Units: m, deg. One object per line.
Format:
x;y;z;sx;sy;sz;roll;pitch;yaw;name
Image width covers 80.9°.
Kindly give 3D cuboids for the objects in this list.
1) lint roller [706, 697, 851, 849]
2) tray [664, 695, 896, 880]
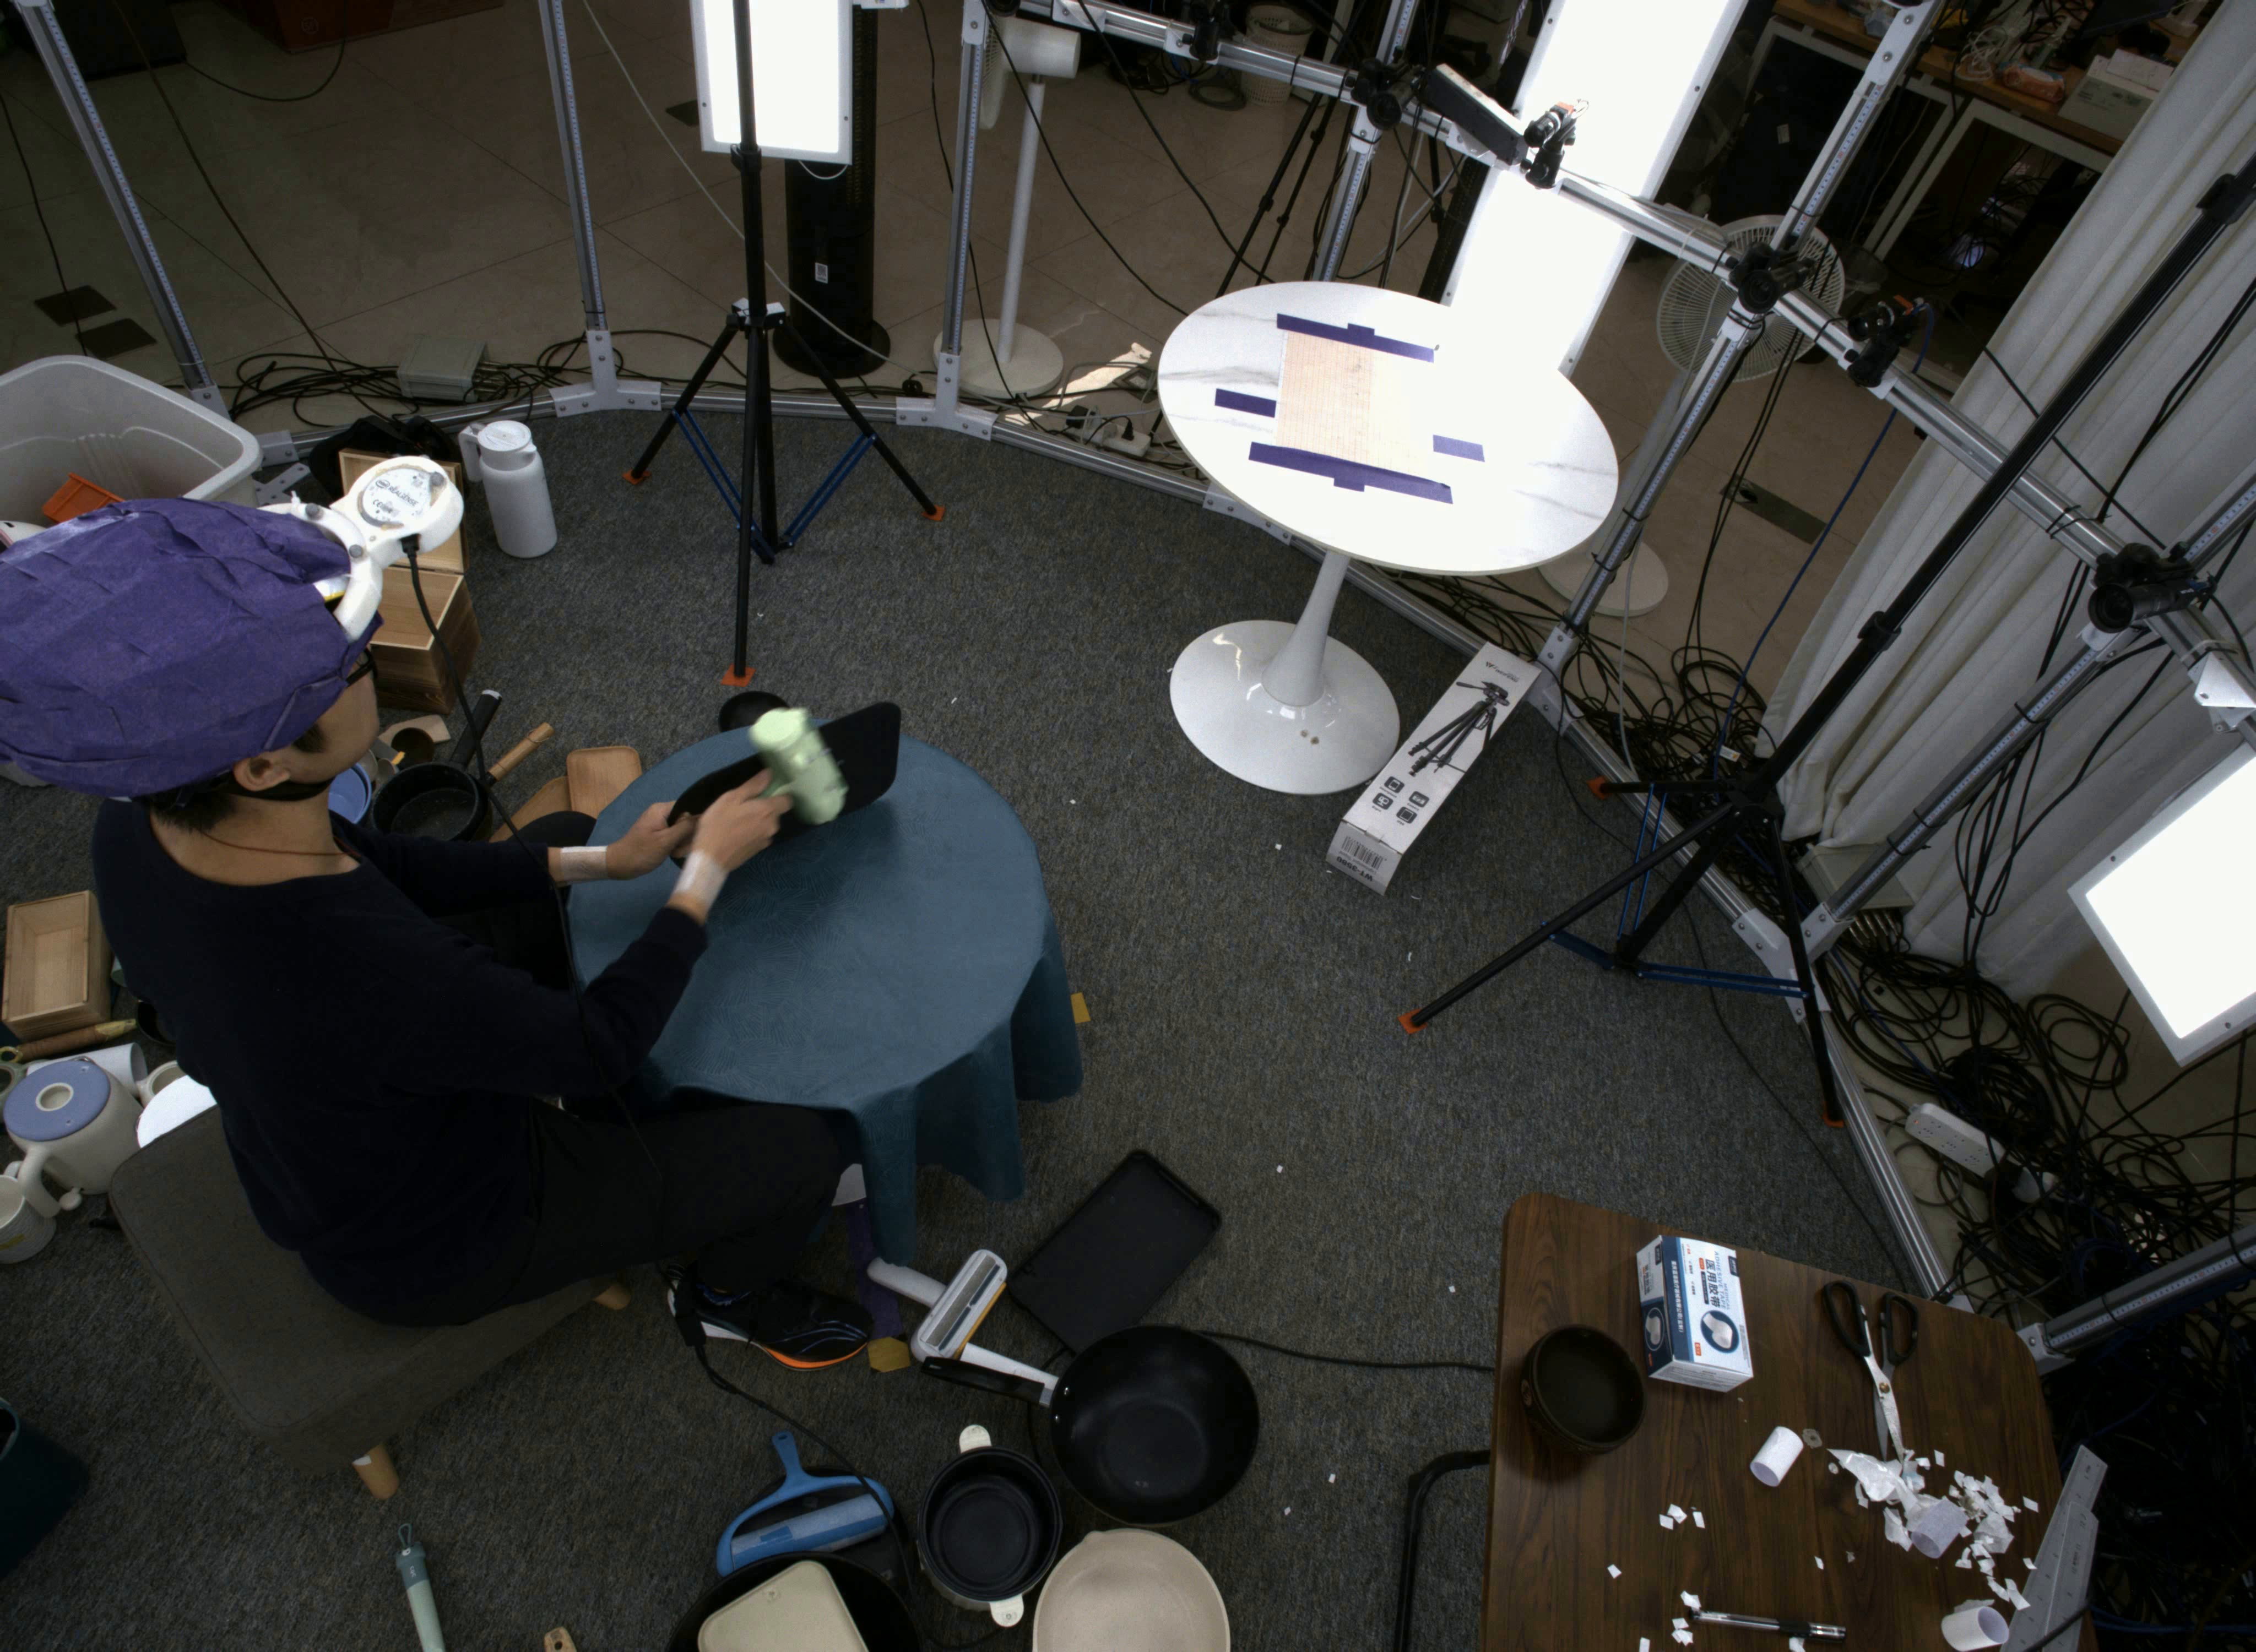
-0.410;-0.033;1.520;0.080;0.204;0.183;29;67;19;lint roller
-0.428;-0.045;1.609;0.326;0.215;0.009;-29;65;-30;tray
